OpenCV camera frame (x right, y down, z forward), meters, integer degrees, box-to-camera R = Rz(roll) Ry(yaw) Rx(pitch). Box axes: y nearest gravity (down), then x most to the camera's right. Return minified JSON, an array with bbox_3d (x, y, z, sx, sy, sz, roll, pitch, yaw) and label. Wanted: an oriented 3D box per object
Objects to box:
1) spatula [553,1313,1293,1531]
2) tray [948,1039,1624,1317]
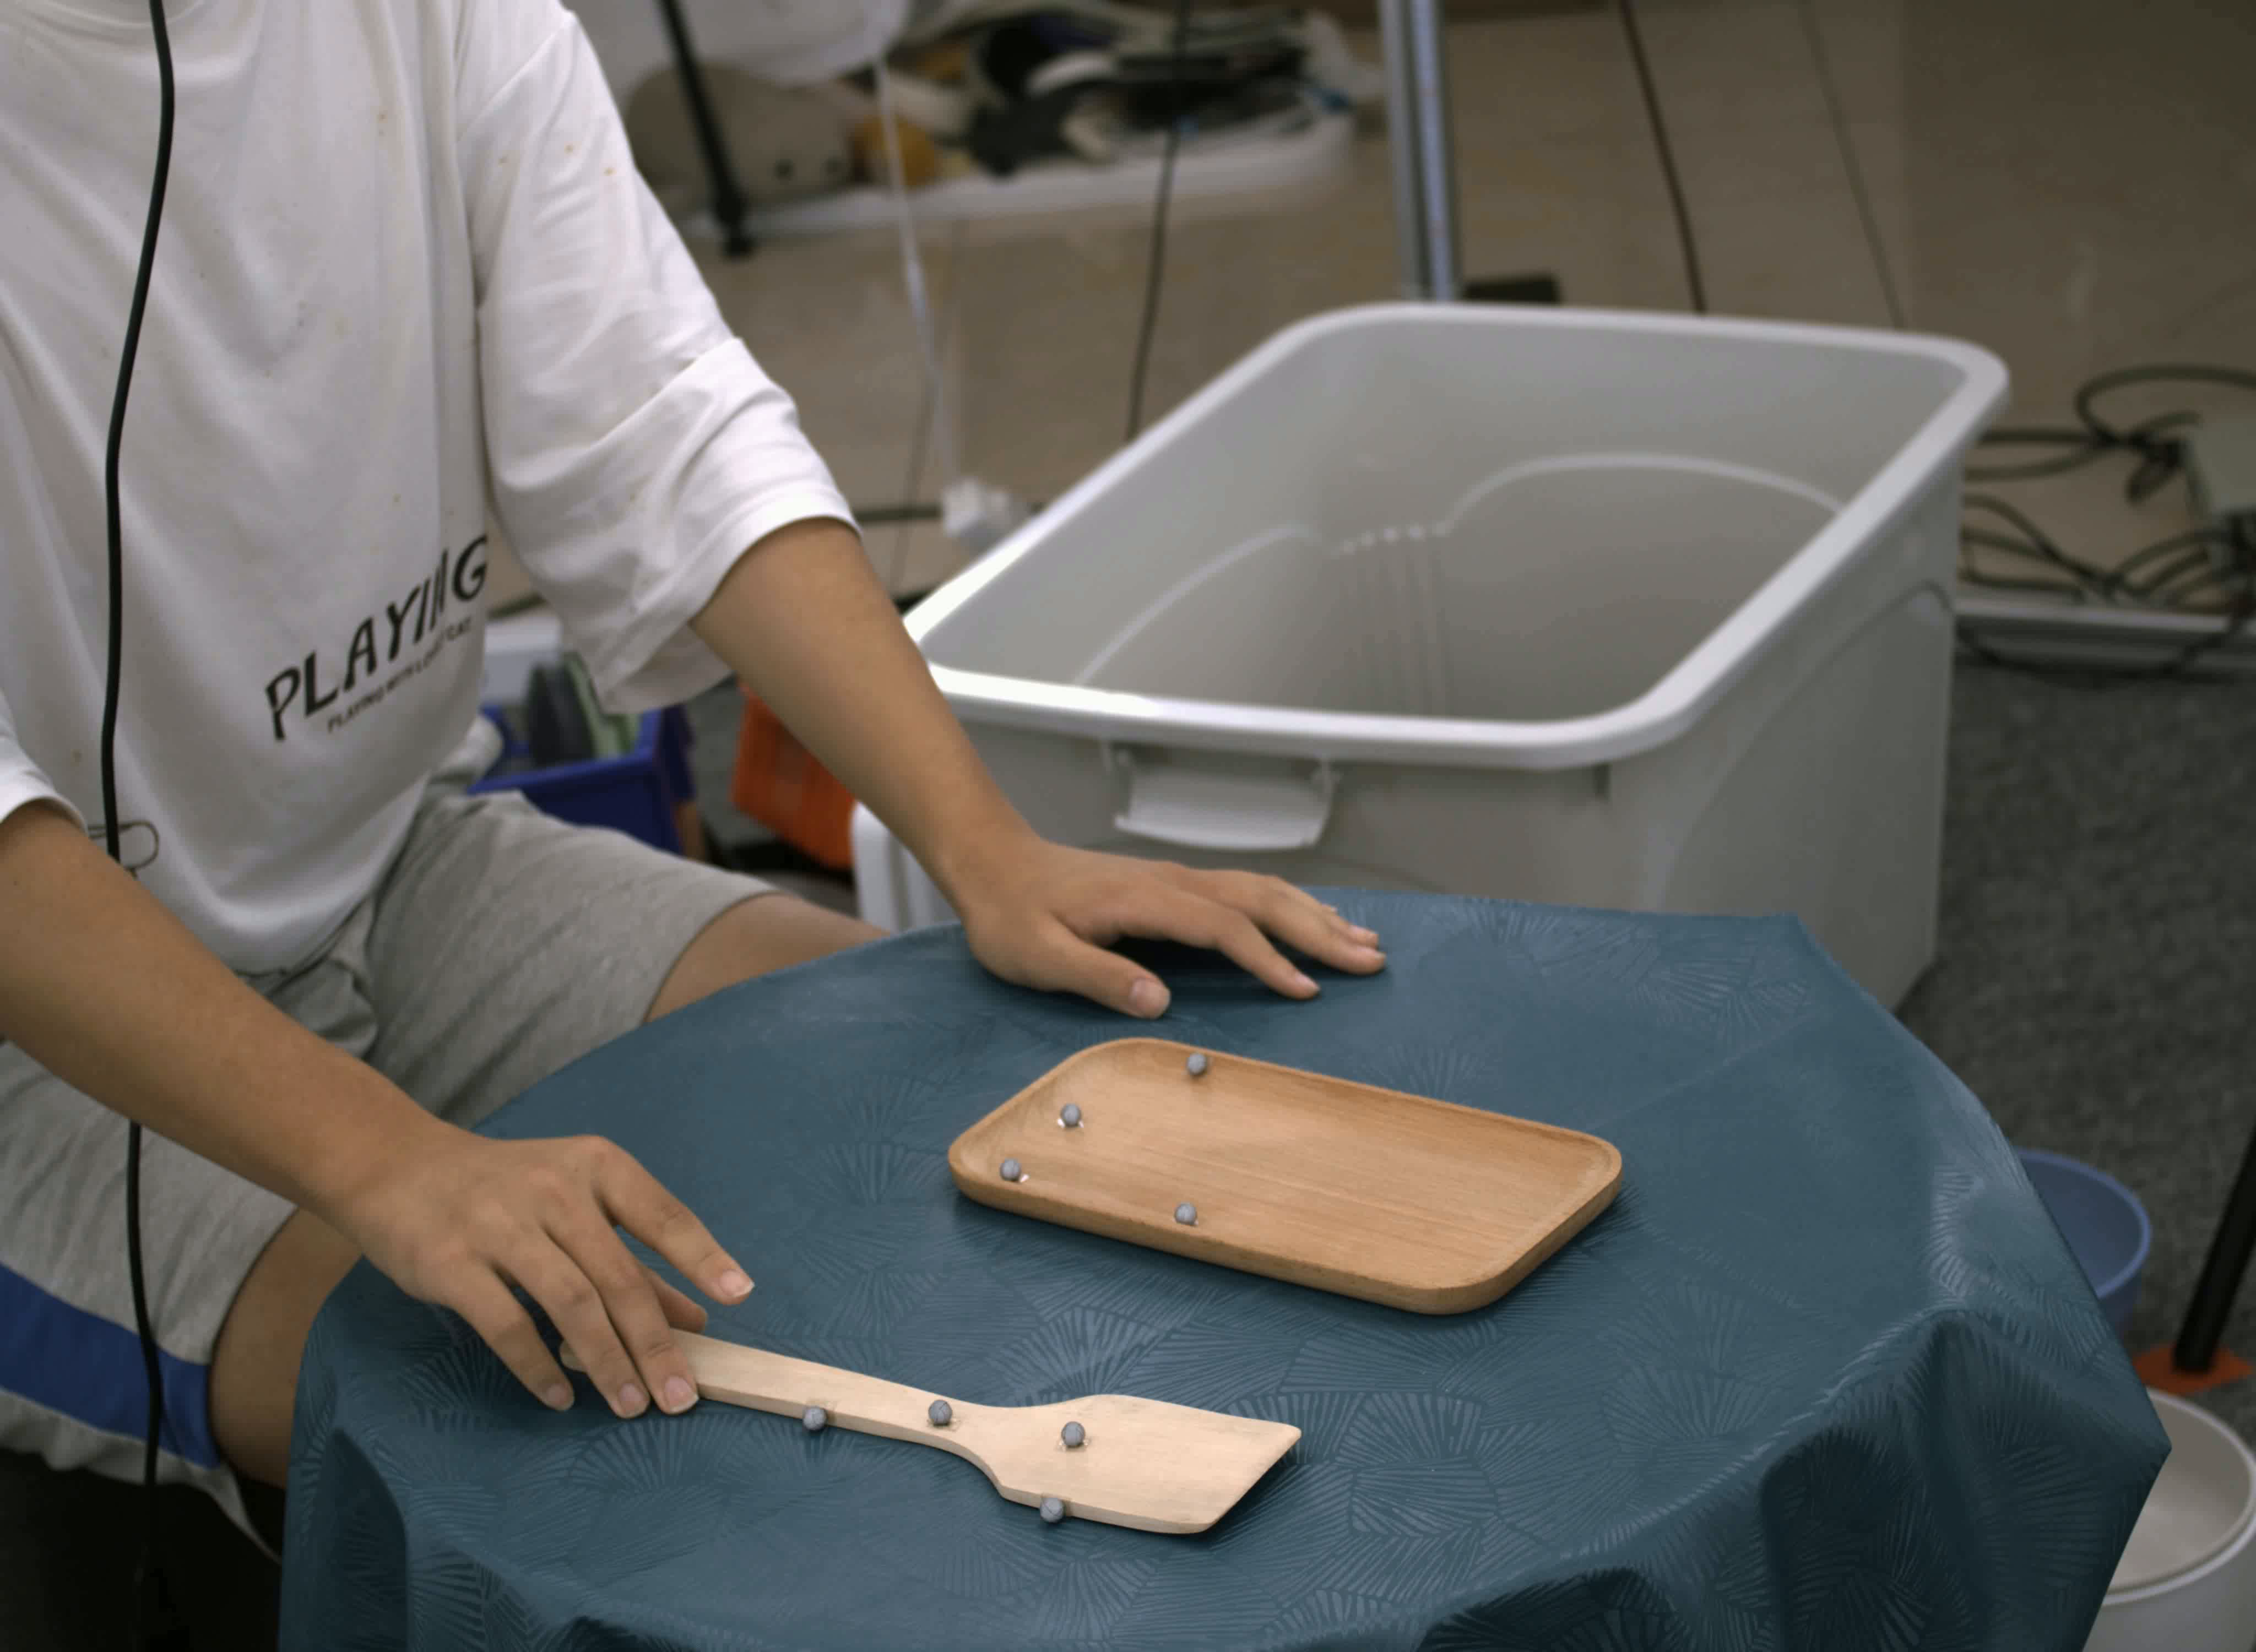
[{"bbox_3d":[-0.083,0.206,2.010,0.292,0.011,0.071,9,30,30],"label":"spatula"},{"bbox_3d":[0.058,0.131,2.131,0.249,0.023,0.129,13,33,35],"label":"tray"}]
